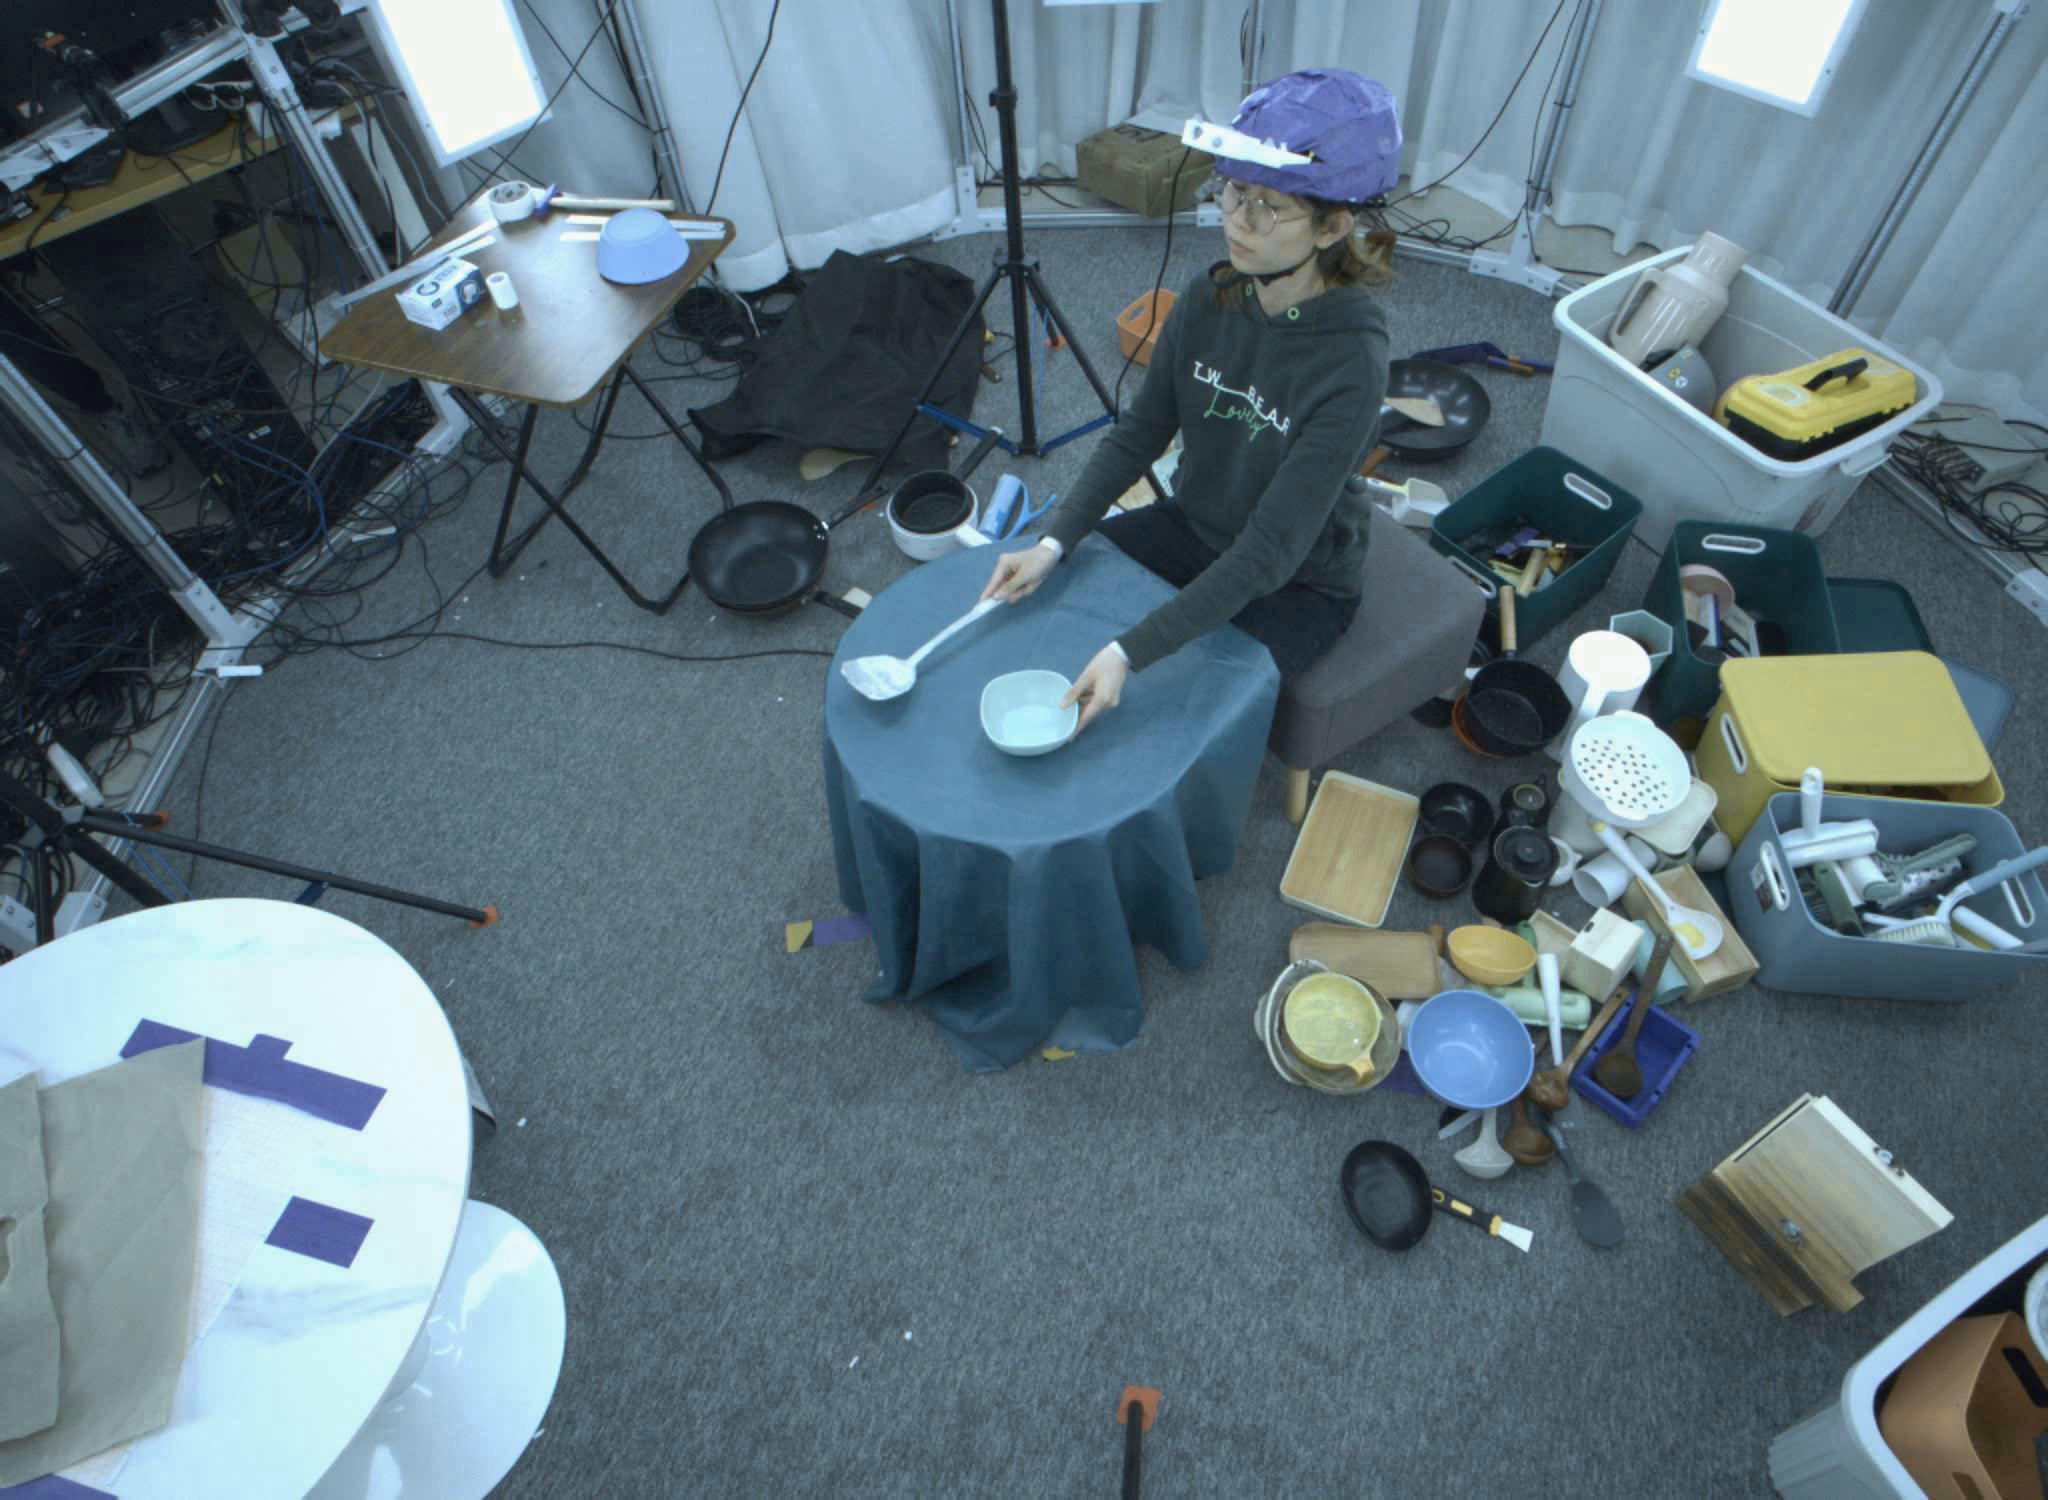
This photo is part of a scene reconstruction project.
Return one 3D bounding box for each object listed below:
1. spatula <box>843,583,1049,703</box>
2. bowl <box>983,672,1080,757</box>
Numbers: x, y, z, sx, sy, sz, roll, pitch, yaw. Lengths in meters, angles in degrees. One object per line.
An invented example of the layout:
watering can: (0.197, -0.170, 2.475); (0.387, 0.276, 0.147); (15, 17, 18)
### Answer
spatula: (-0.109, -0.179, 1.875); (0.367, 0.045, 0.097); (-36, 59, -20)
bowl: (0.012, -0.041, 1.784); (0.151, 0.059, 0.150); (0, 57, 2)
